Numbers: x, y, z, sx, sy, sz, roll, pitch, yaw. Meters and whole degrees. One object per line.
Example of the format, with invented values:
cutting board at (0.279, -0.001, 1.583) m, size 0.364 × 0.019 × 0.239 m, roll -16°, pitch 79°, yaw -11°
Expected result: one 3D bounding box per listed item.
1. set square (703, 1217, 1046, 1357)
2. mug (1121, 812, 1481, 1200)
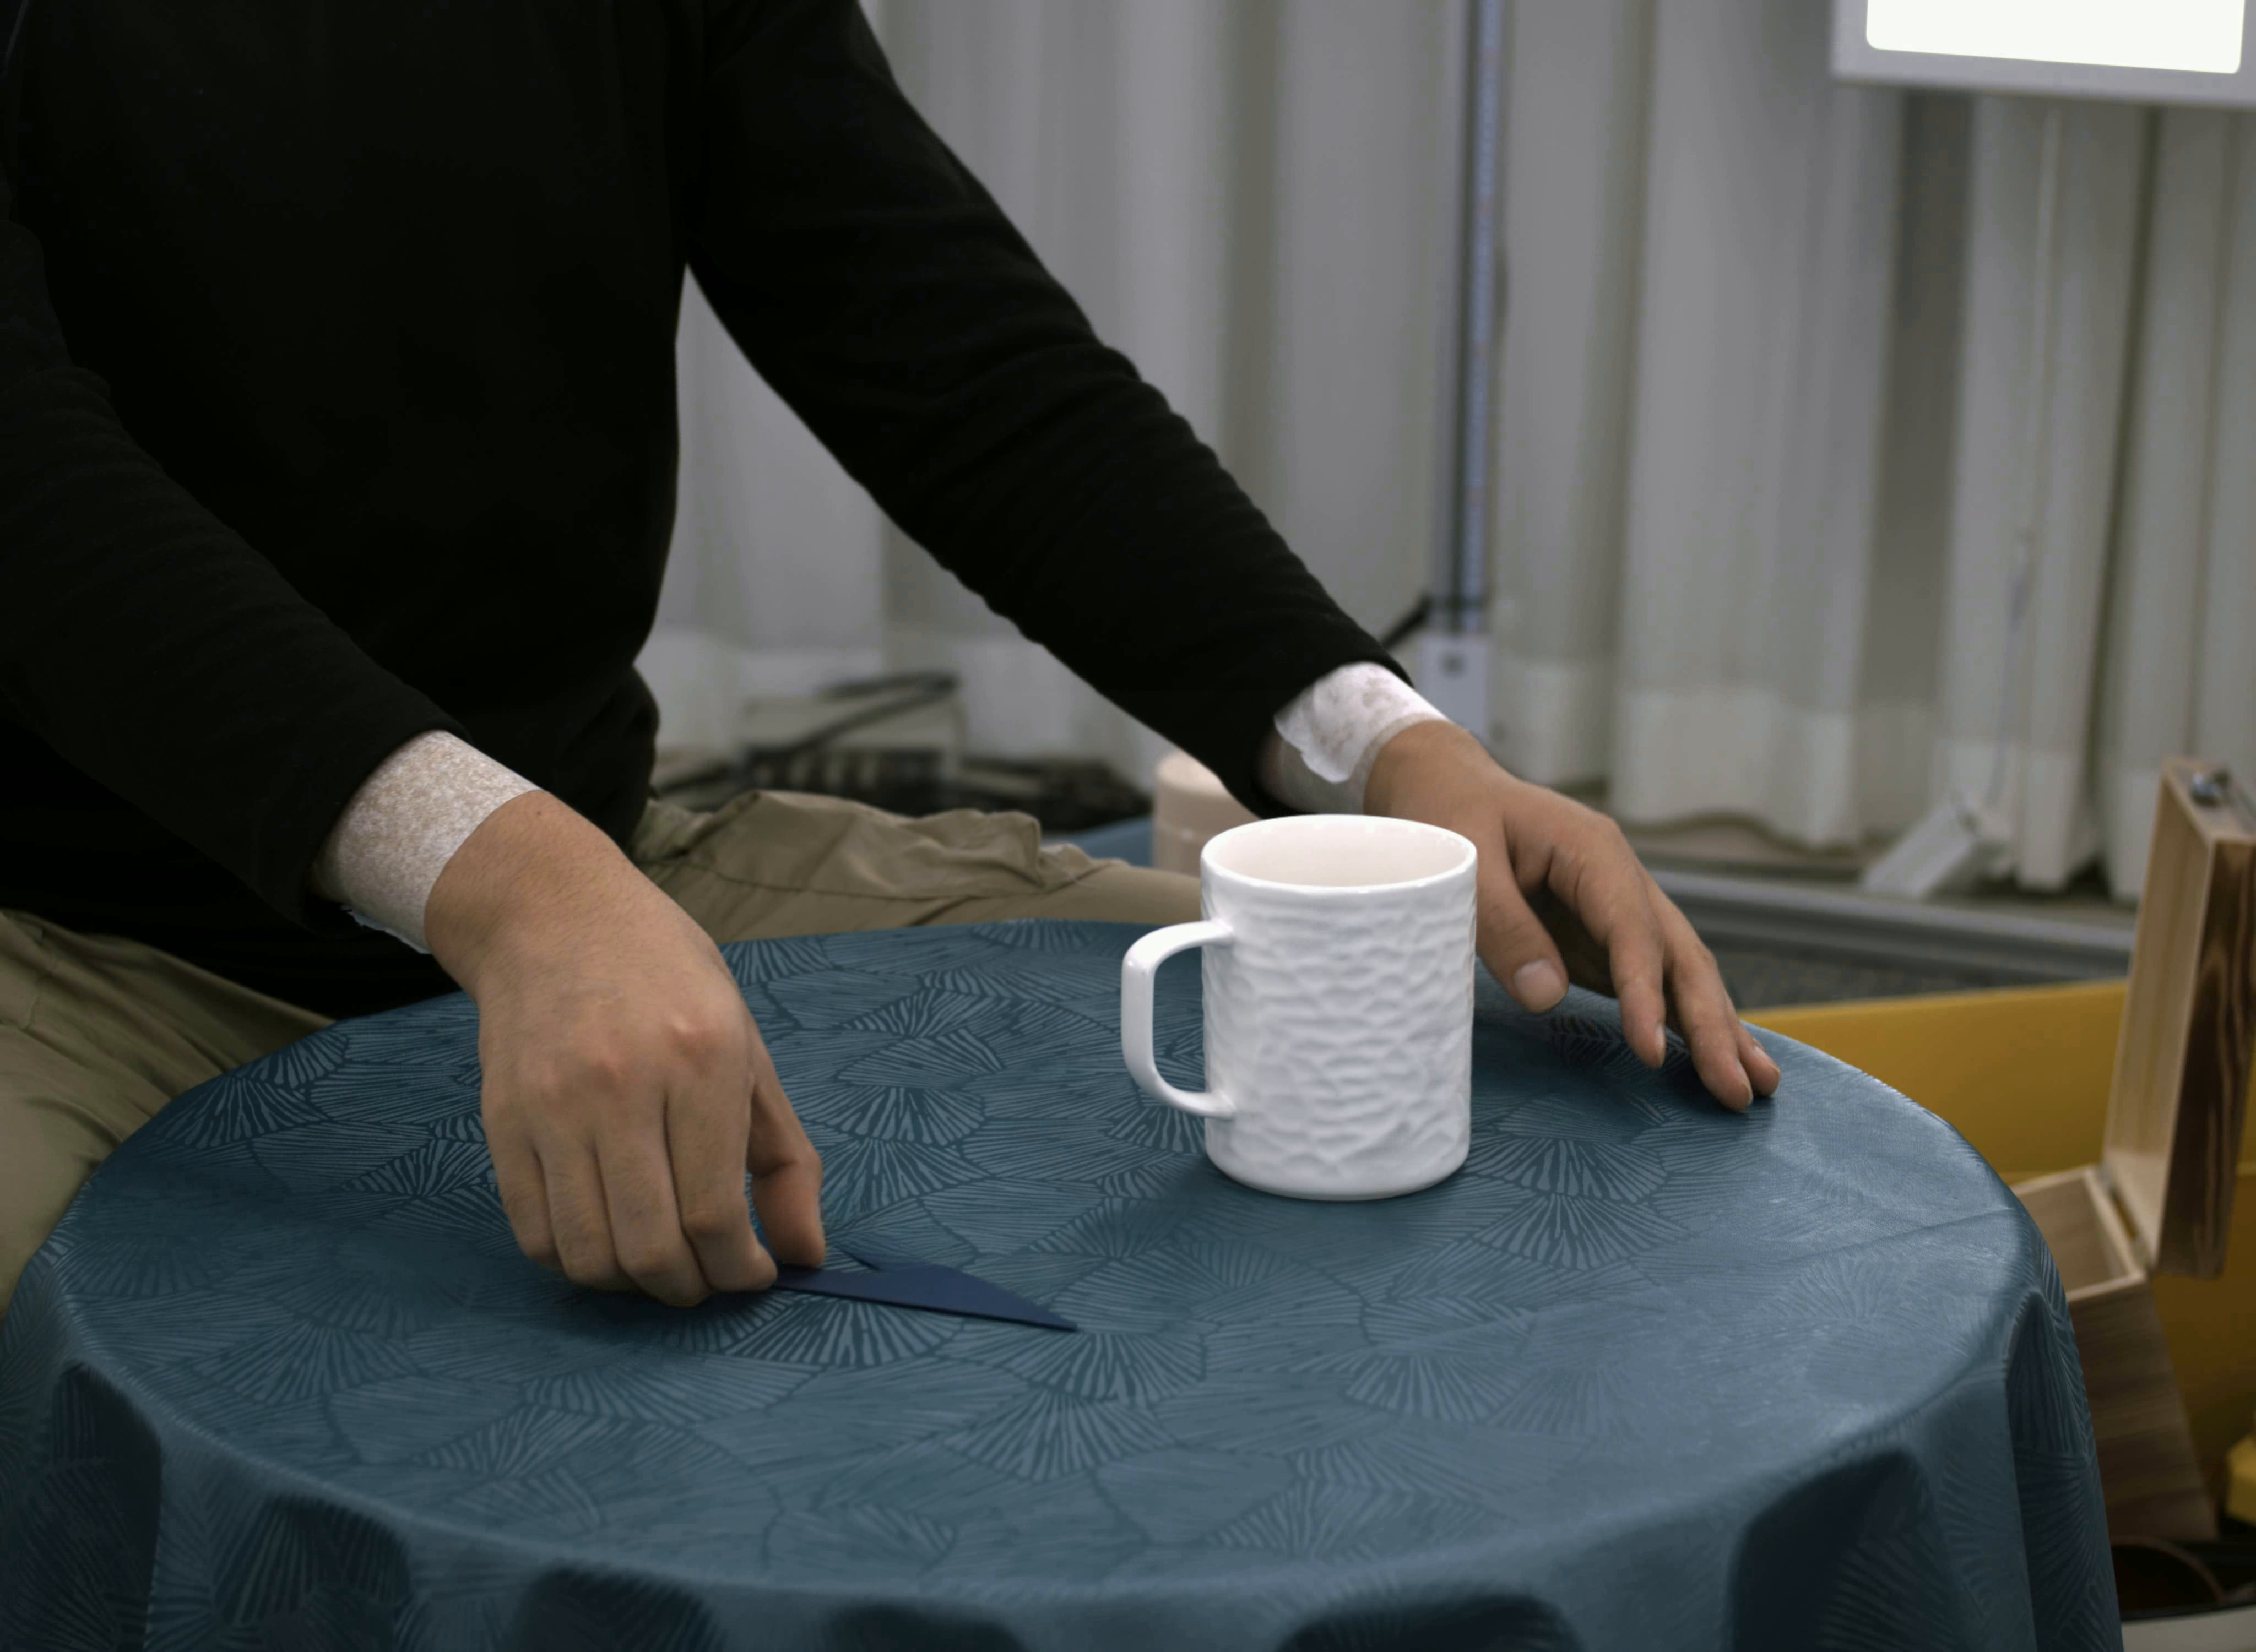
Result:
set square at (-0.079, 0.137, 1.526) m, size 0.061 × 0.006 × 0.130 m, roll -11°, pitch 19°, yaw -32°
mug at (0.052, 0.058, 1.627) m, size 0.119 × 0.103 × 0.084 m, roll -8°, pitch 18°, yaw -29°
